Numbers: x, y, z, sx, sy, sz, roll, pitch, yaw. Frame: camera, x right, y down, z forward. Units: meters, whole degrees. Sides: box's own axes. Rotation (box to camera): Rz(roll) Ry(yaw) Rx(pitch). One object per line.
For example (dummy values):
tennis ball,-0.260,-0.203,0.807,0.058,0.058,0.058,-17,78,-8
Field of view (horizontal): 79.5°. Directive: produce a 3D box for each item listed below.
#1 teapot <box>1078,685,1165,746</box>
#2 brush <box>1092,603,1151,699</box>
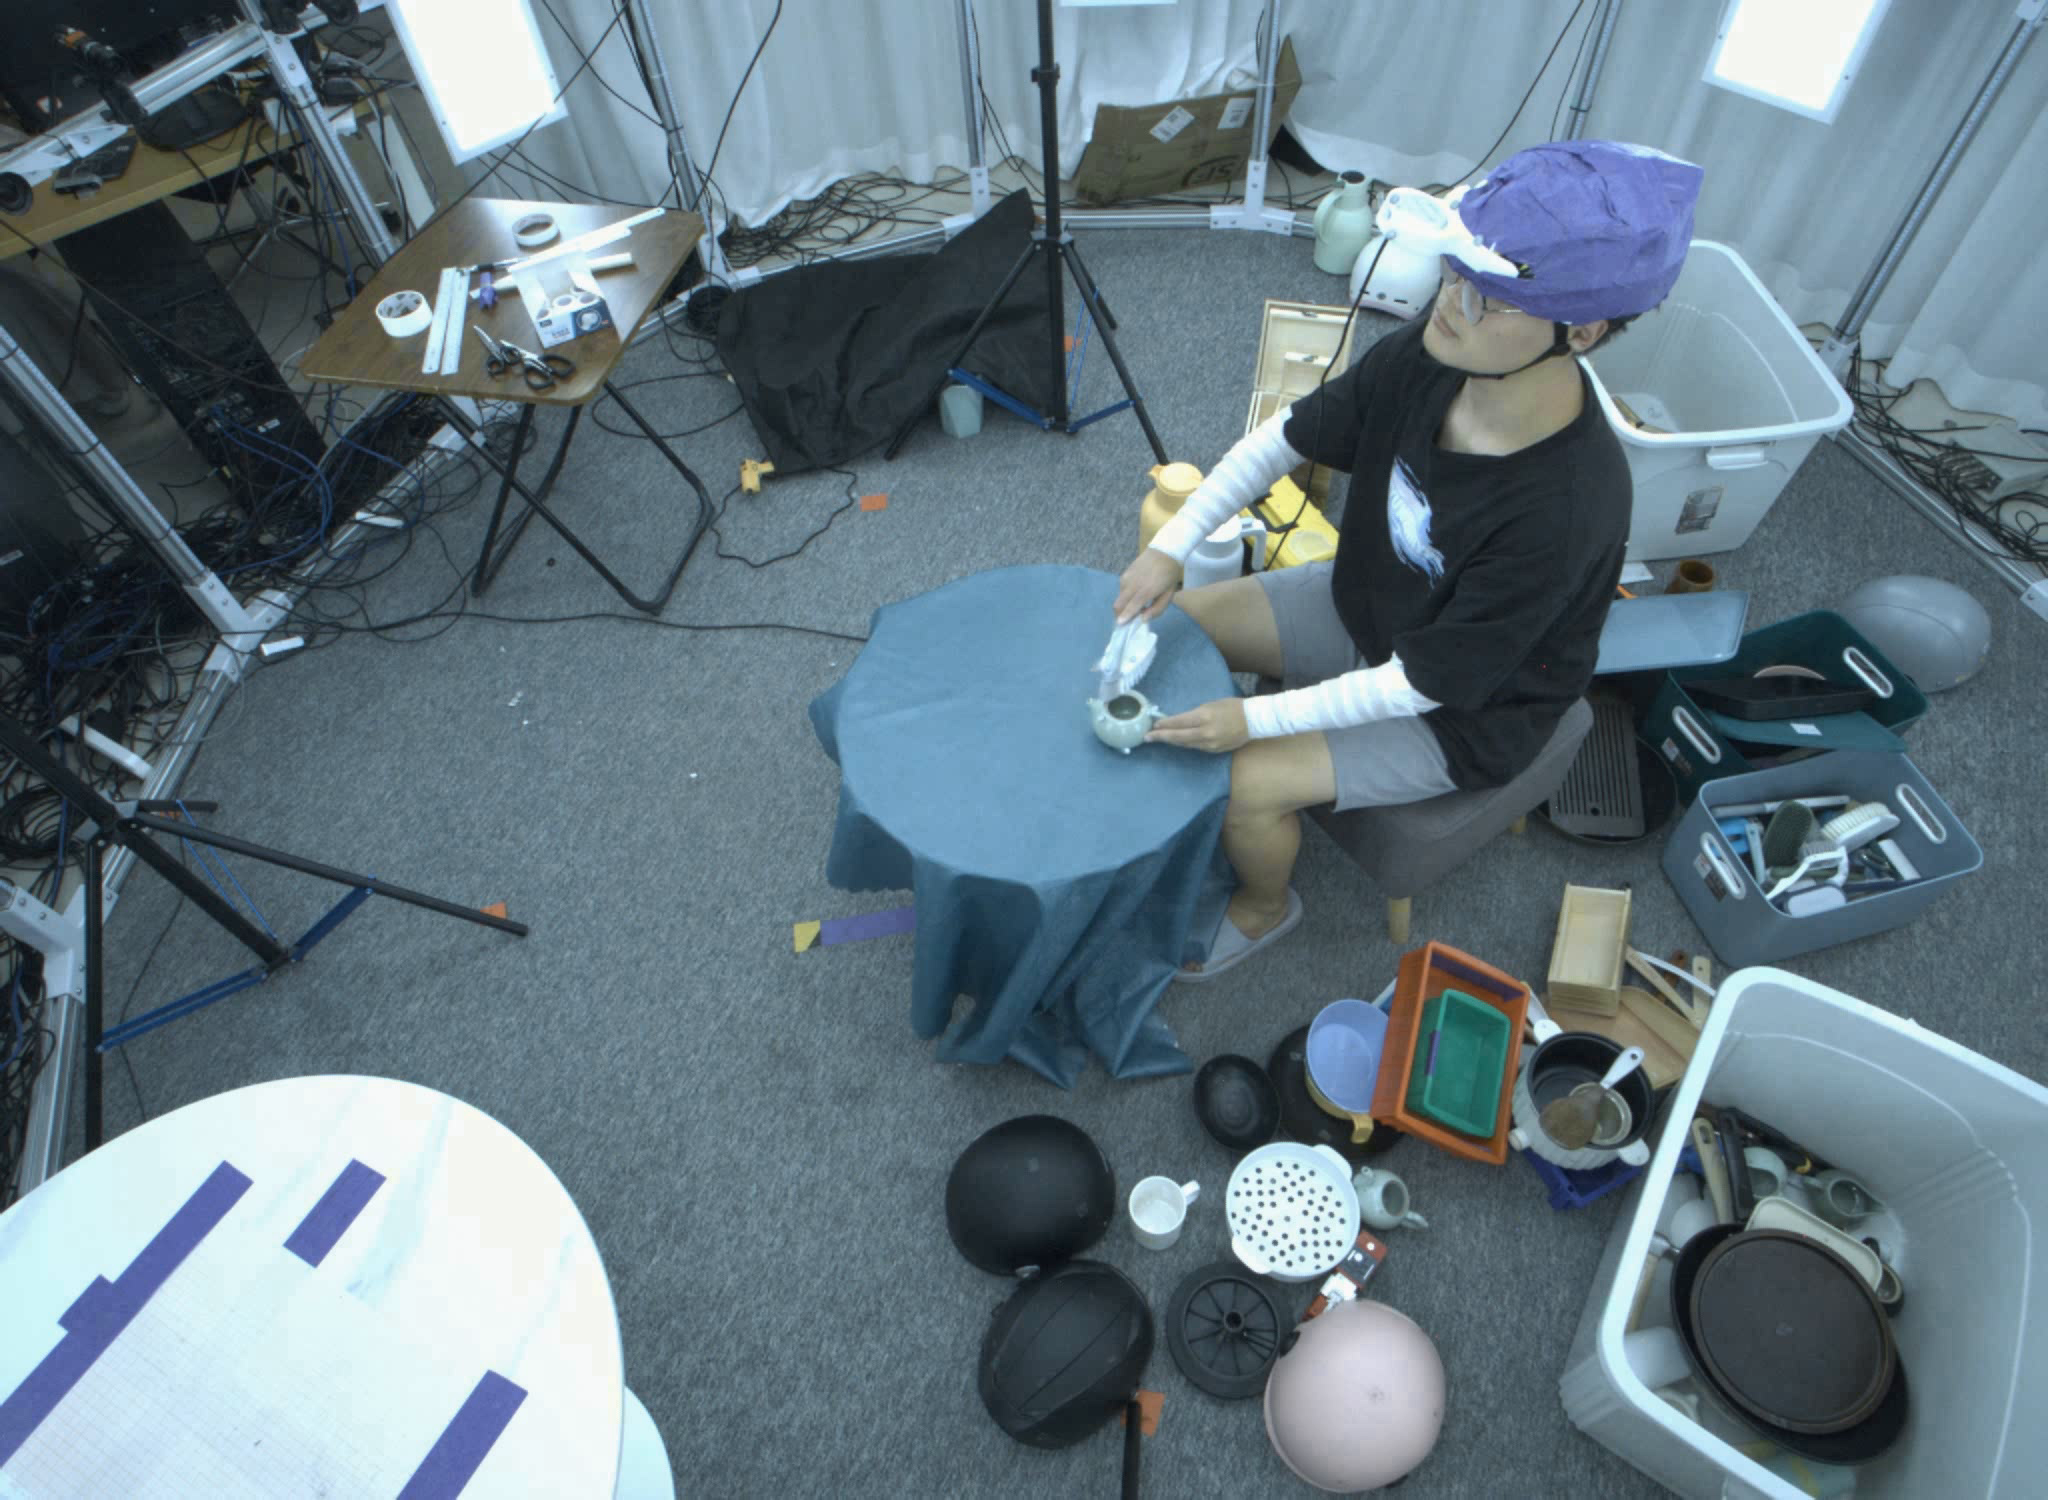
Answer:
teapot,0.140,-0.047,1.770,0.127,0.061,0.091,14,55,12
brush,0.133,-0.150,1.779,0.060,0.095,0.176,9,35,21
